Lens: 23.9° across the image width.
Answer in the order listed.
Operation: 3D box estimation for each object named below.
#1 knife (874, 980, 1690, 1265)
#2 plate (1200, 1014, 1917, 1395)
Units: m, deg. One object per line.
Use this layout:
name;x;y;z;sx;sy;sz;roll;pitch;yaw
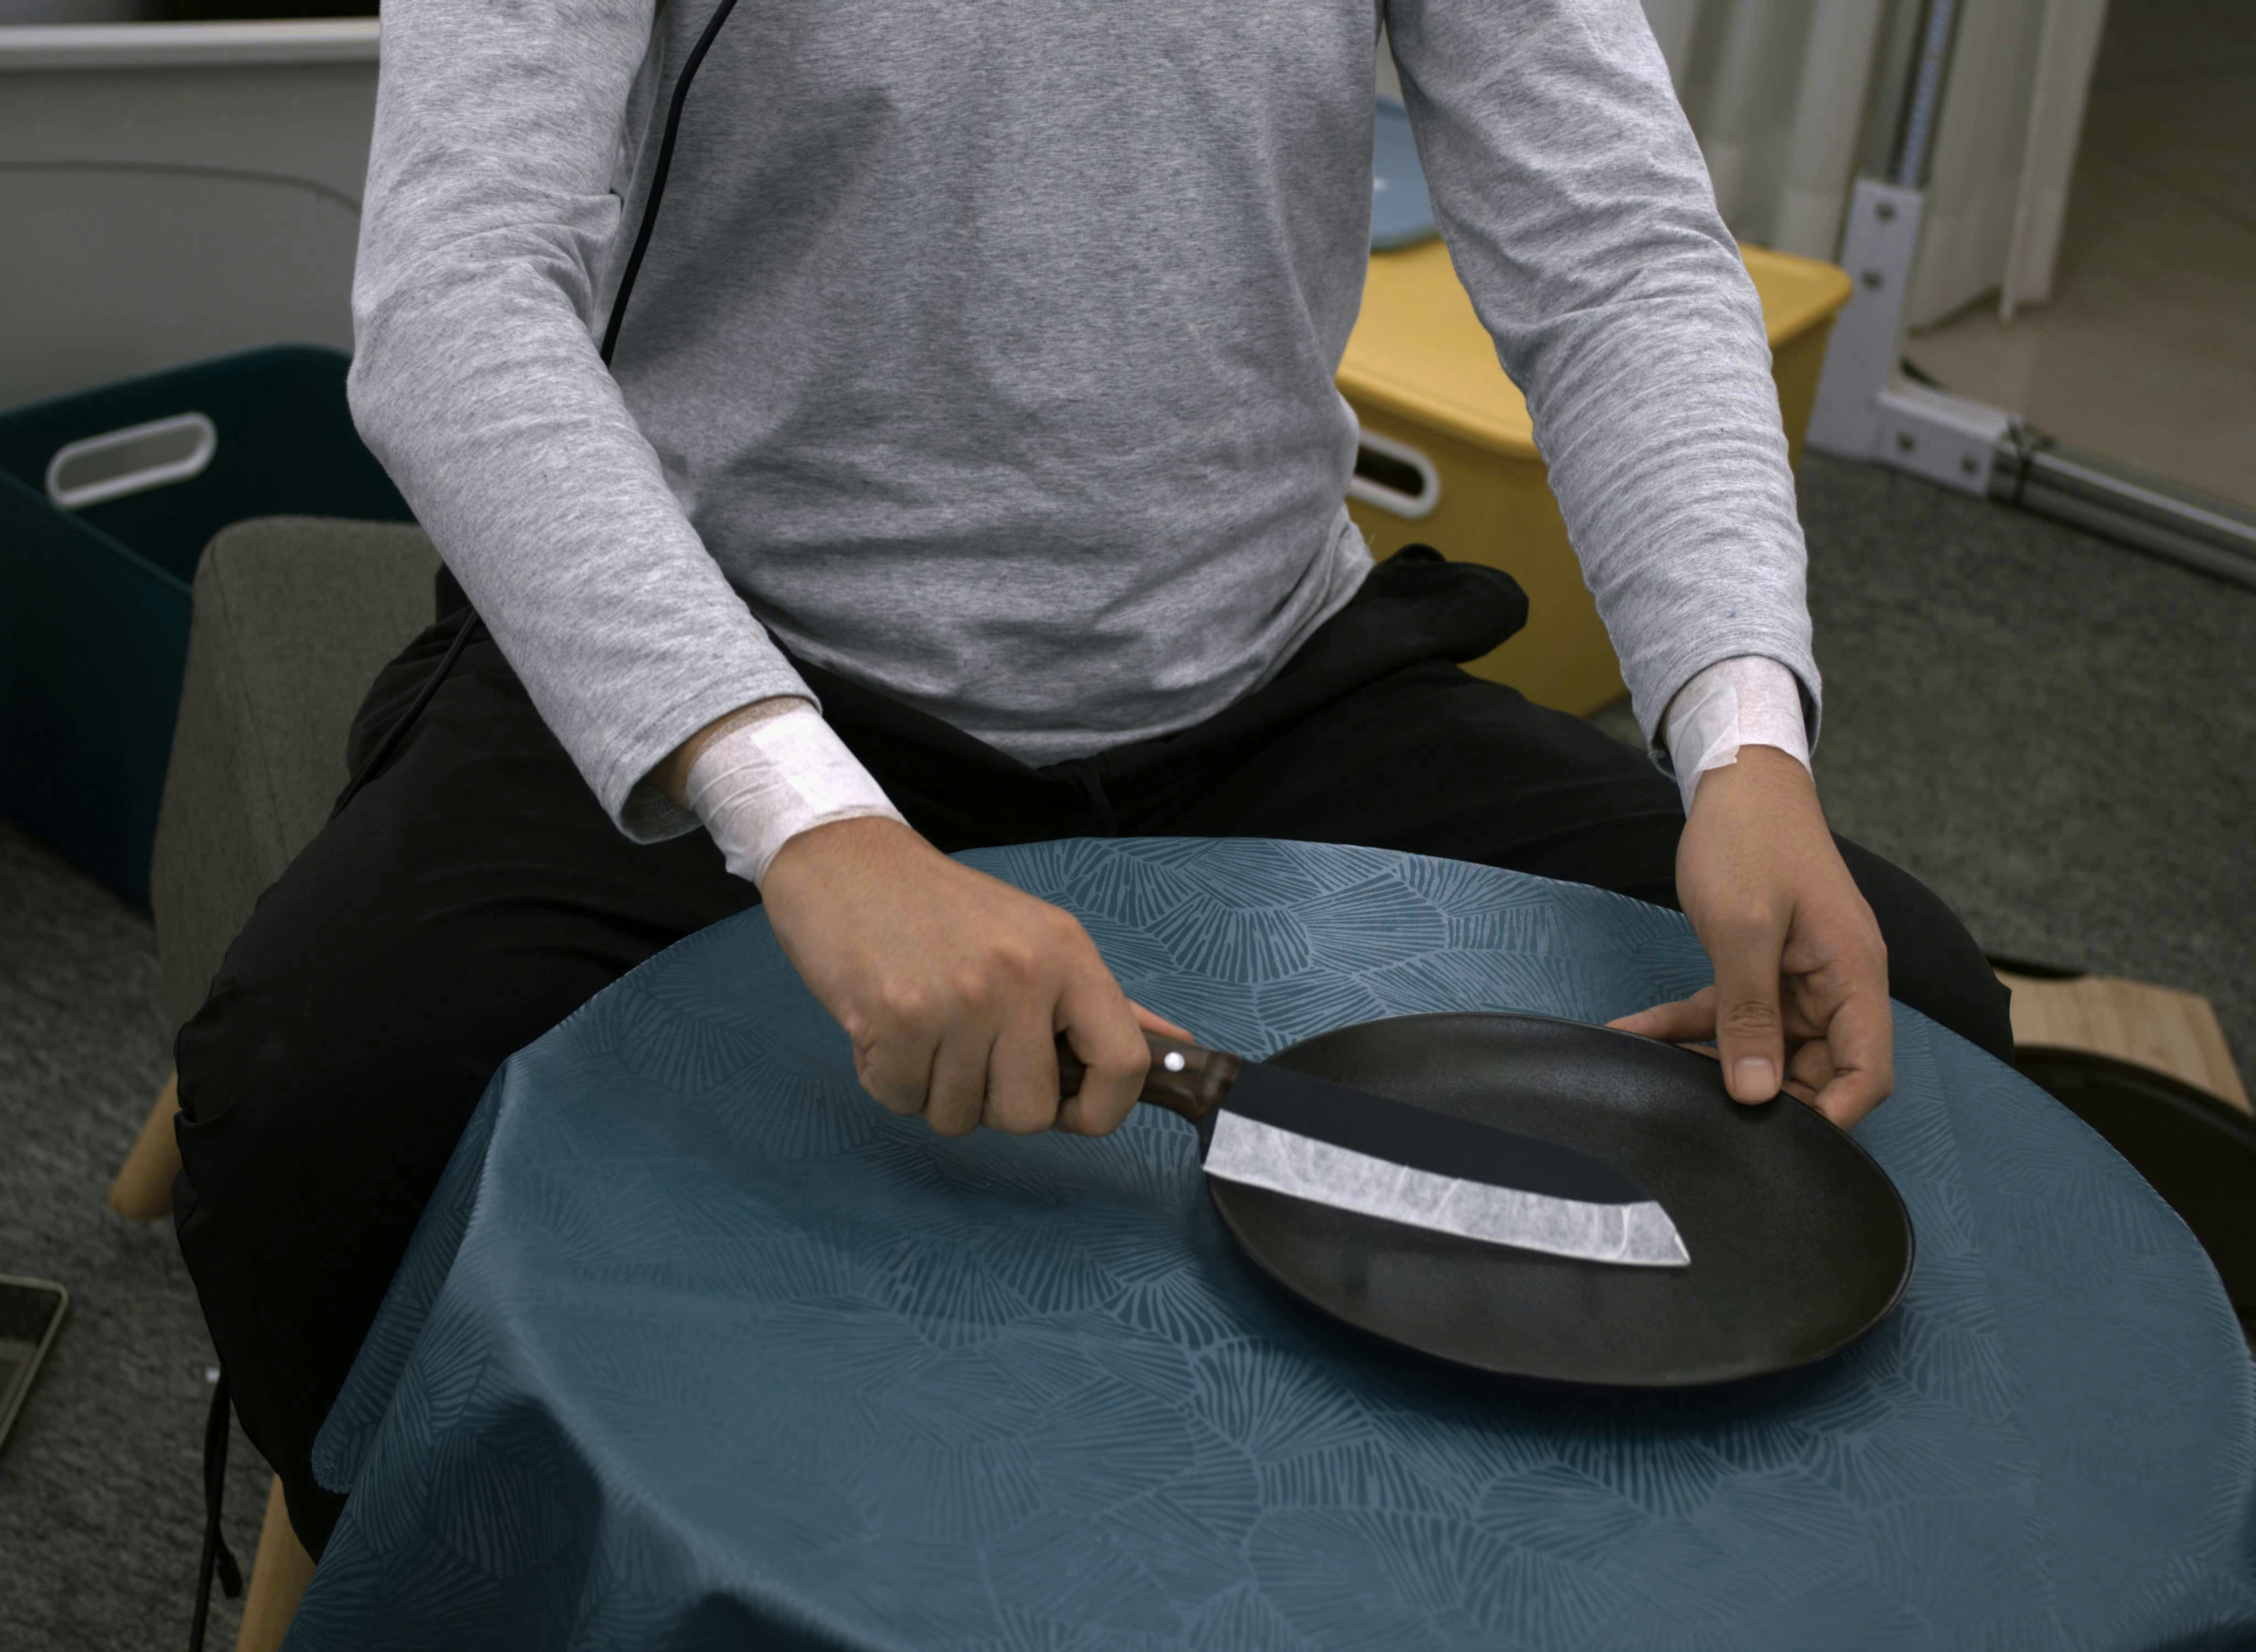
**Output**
knife;0.051;0.101;1.785;0.288;0.020;0.050;17;65;2
plate;0.144;0.131;1.798;0.243;0.023;0.246;5;27;-3
